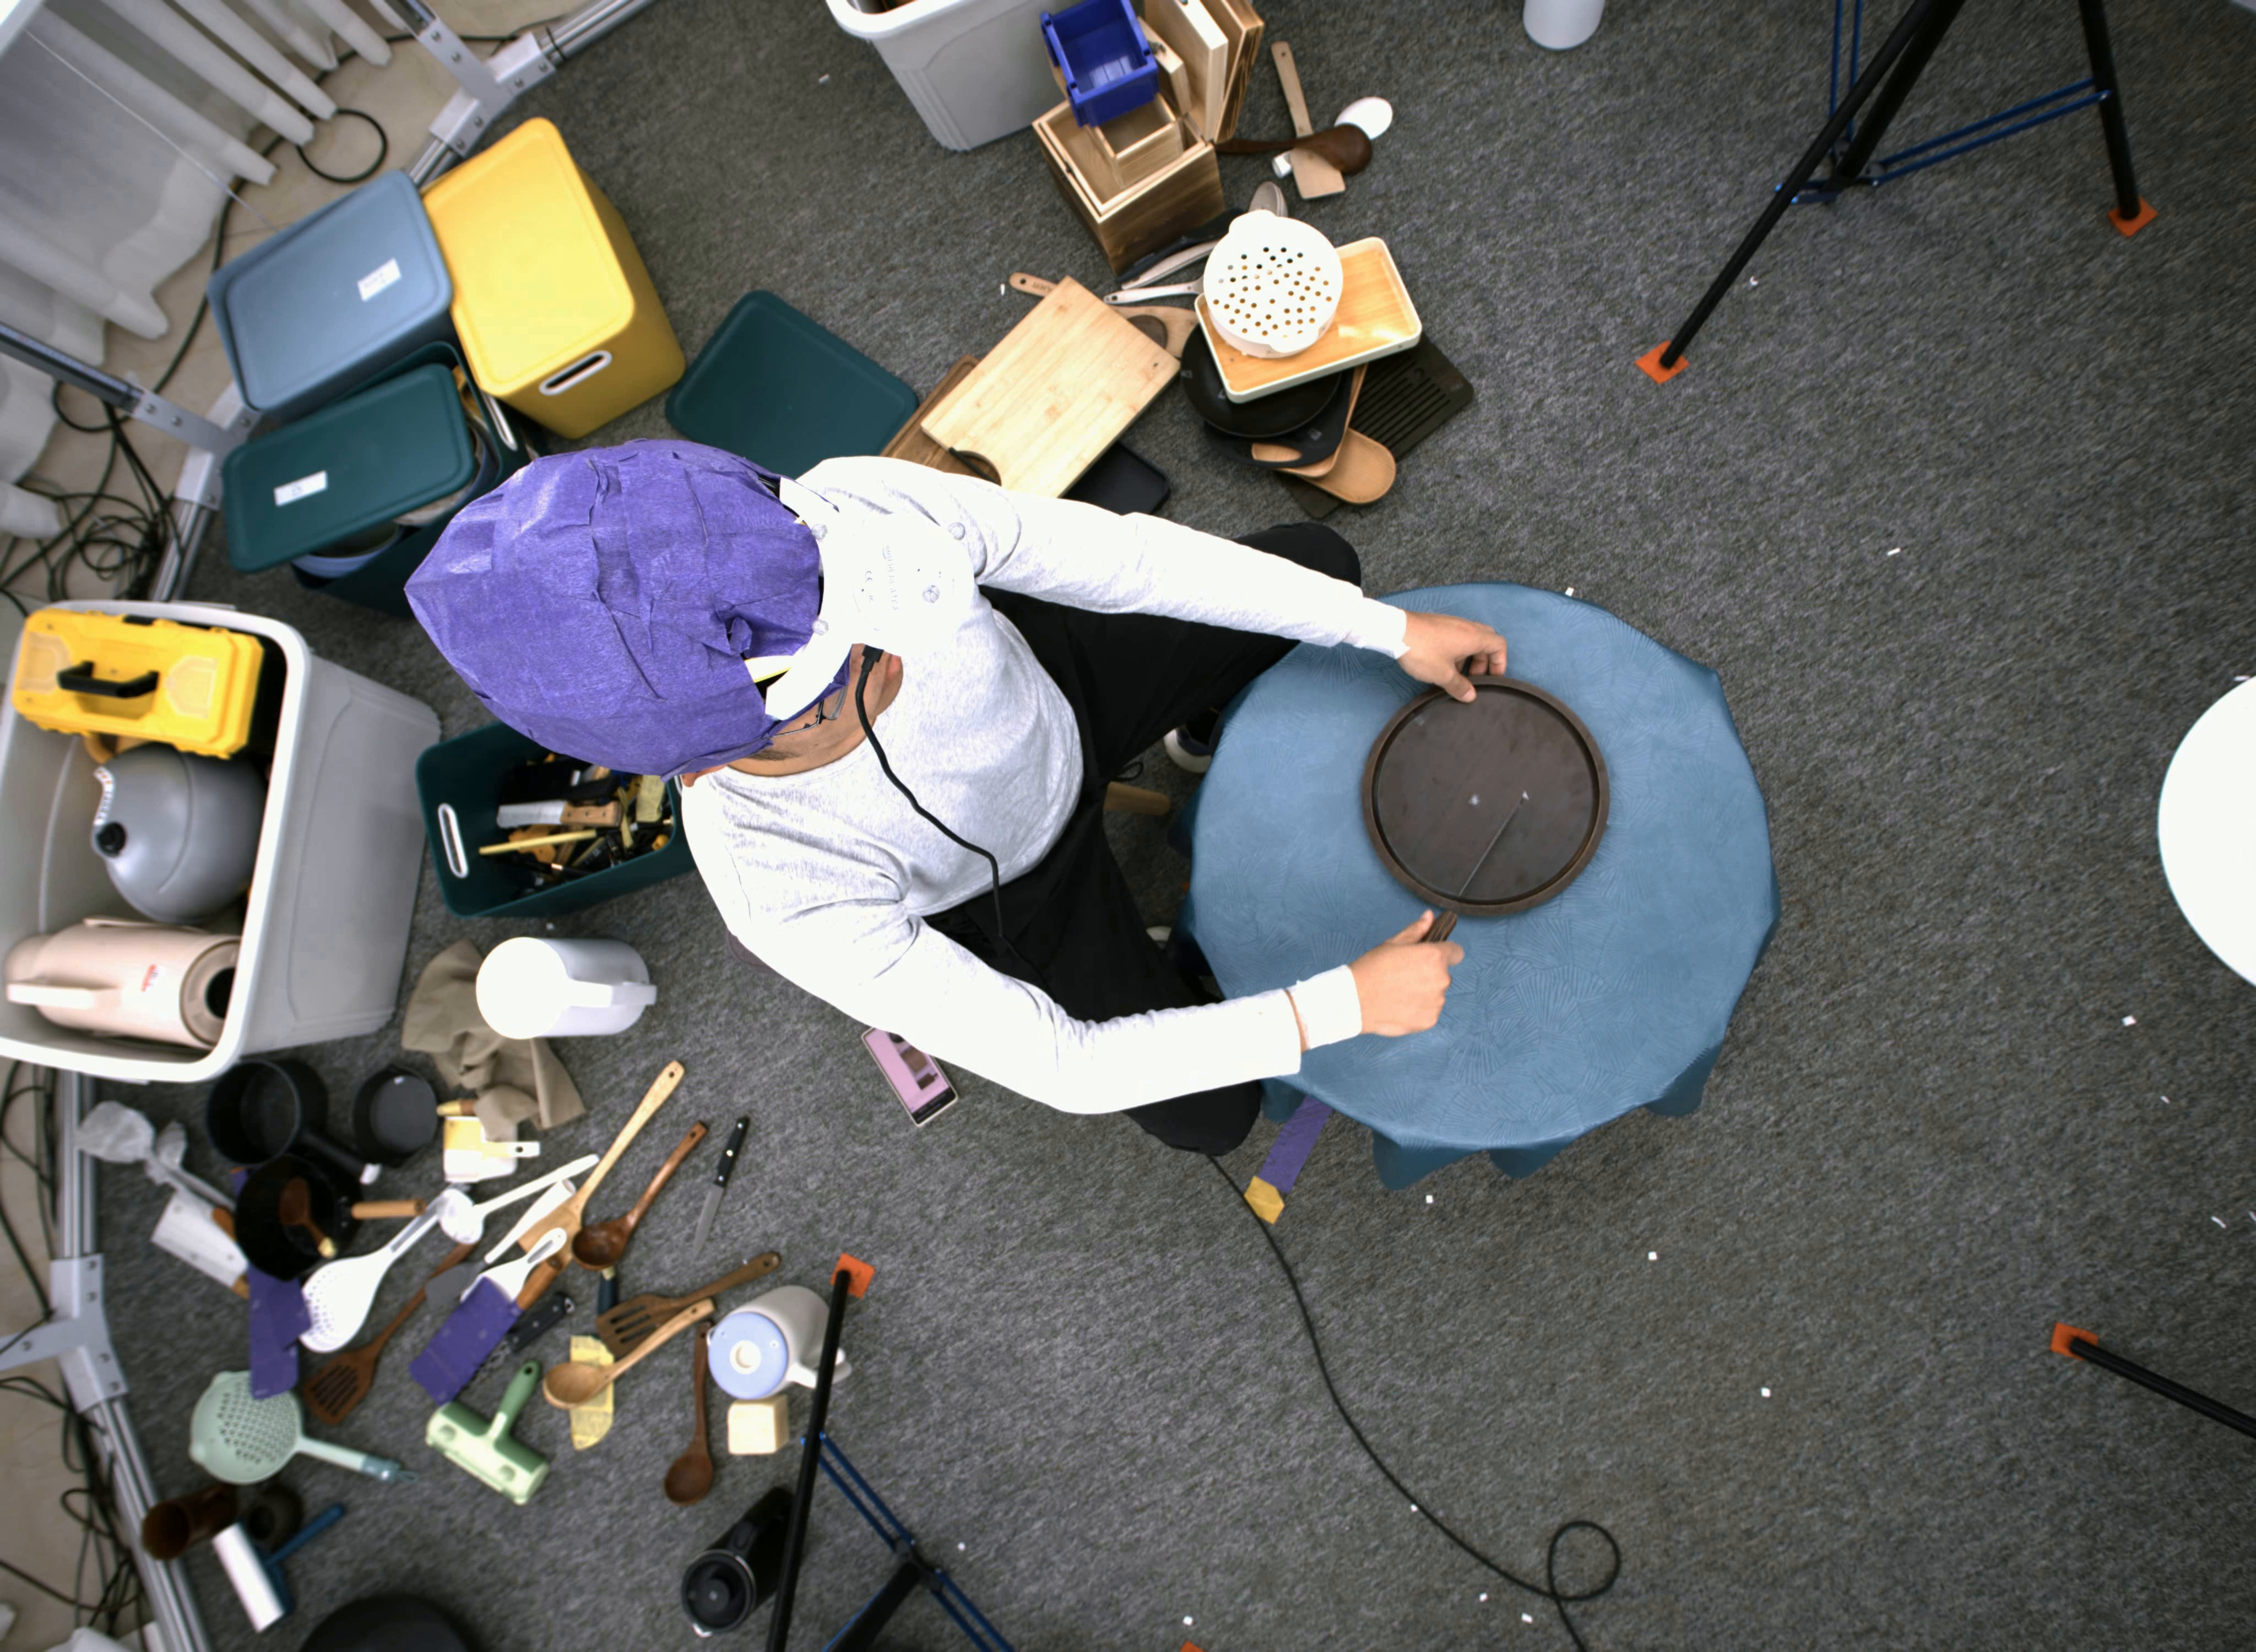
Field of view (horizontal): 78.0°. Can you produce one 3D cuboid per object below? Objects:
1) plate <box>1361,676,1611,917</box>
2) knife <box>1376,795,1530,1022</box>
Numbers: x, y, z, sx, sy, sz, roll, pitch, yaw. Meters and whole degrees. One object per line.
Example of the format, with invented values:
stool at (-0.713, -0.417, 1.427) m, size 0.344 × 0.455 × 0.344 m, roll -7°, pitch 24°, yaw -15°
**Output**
plate at (0.371, -0.034, 1.434) m, size 0.256 × 0.029 × 0.254 m, roll -1°, pitch 88°, yaw 12°
knife at (0.322, 0.073, 1.342) m, size 0.020 × 0.051 × 0.285 m, roll 36°, pitch 73°, yaw 6°
